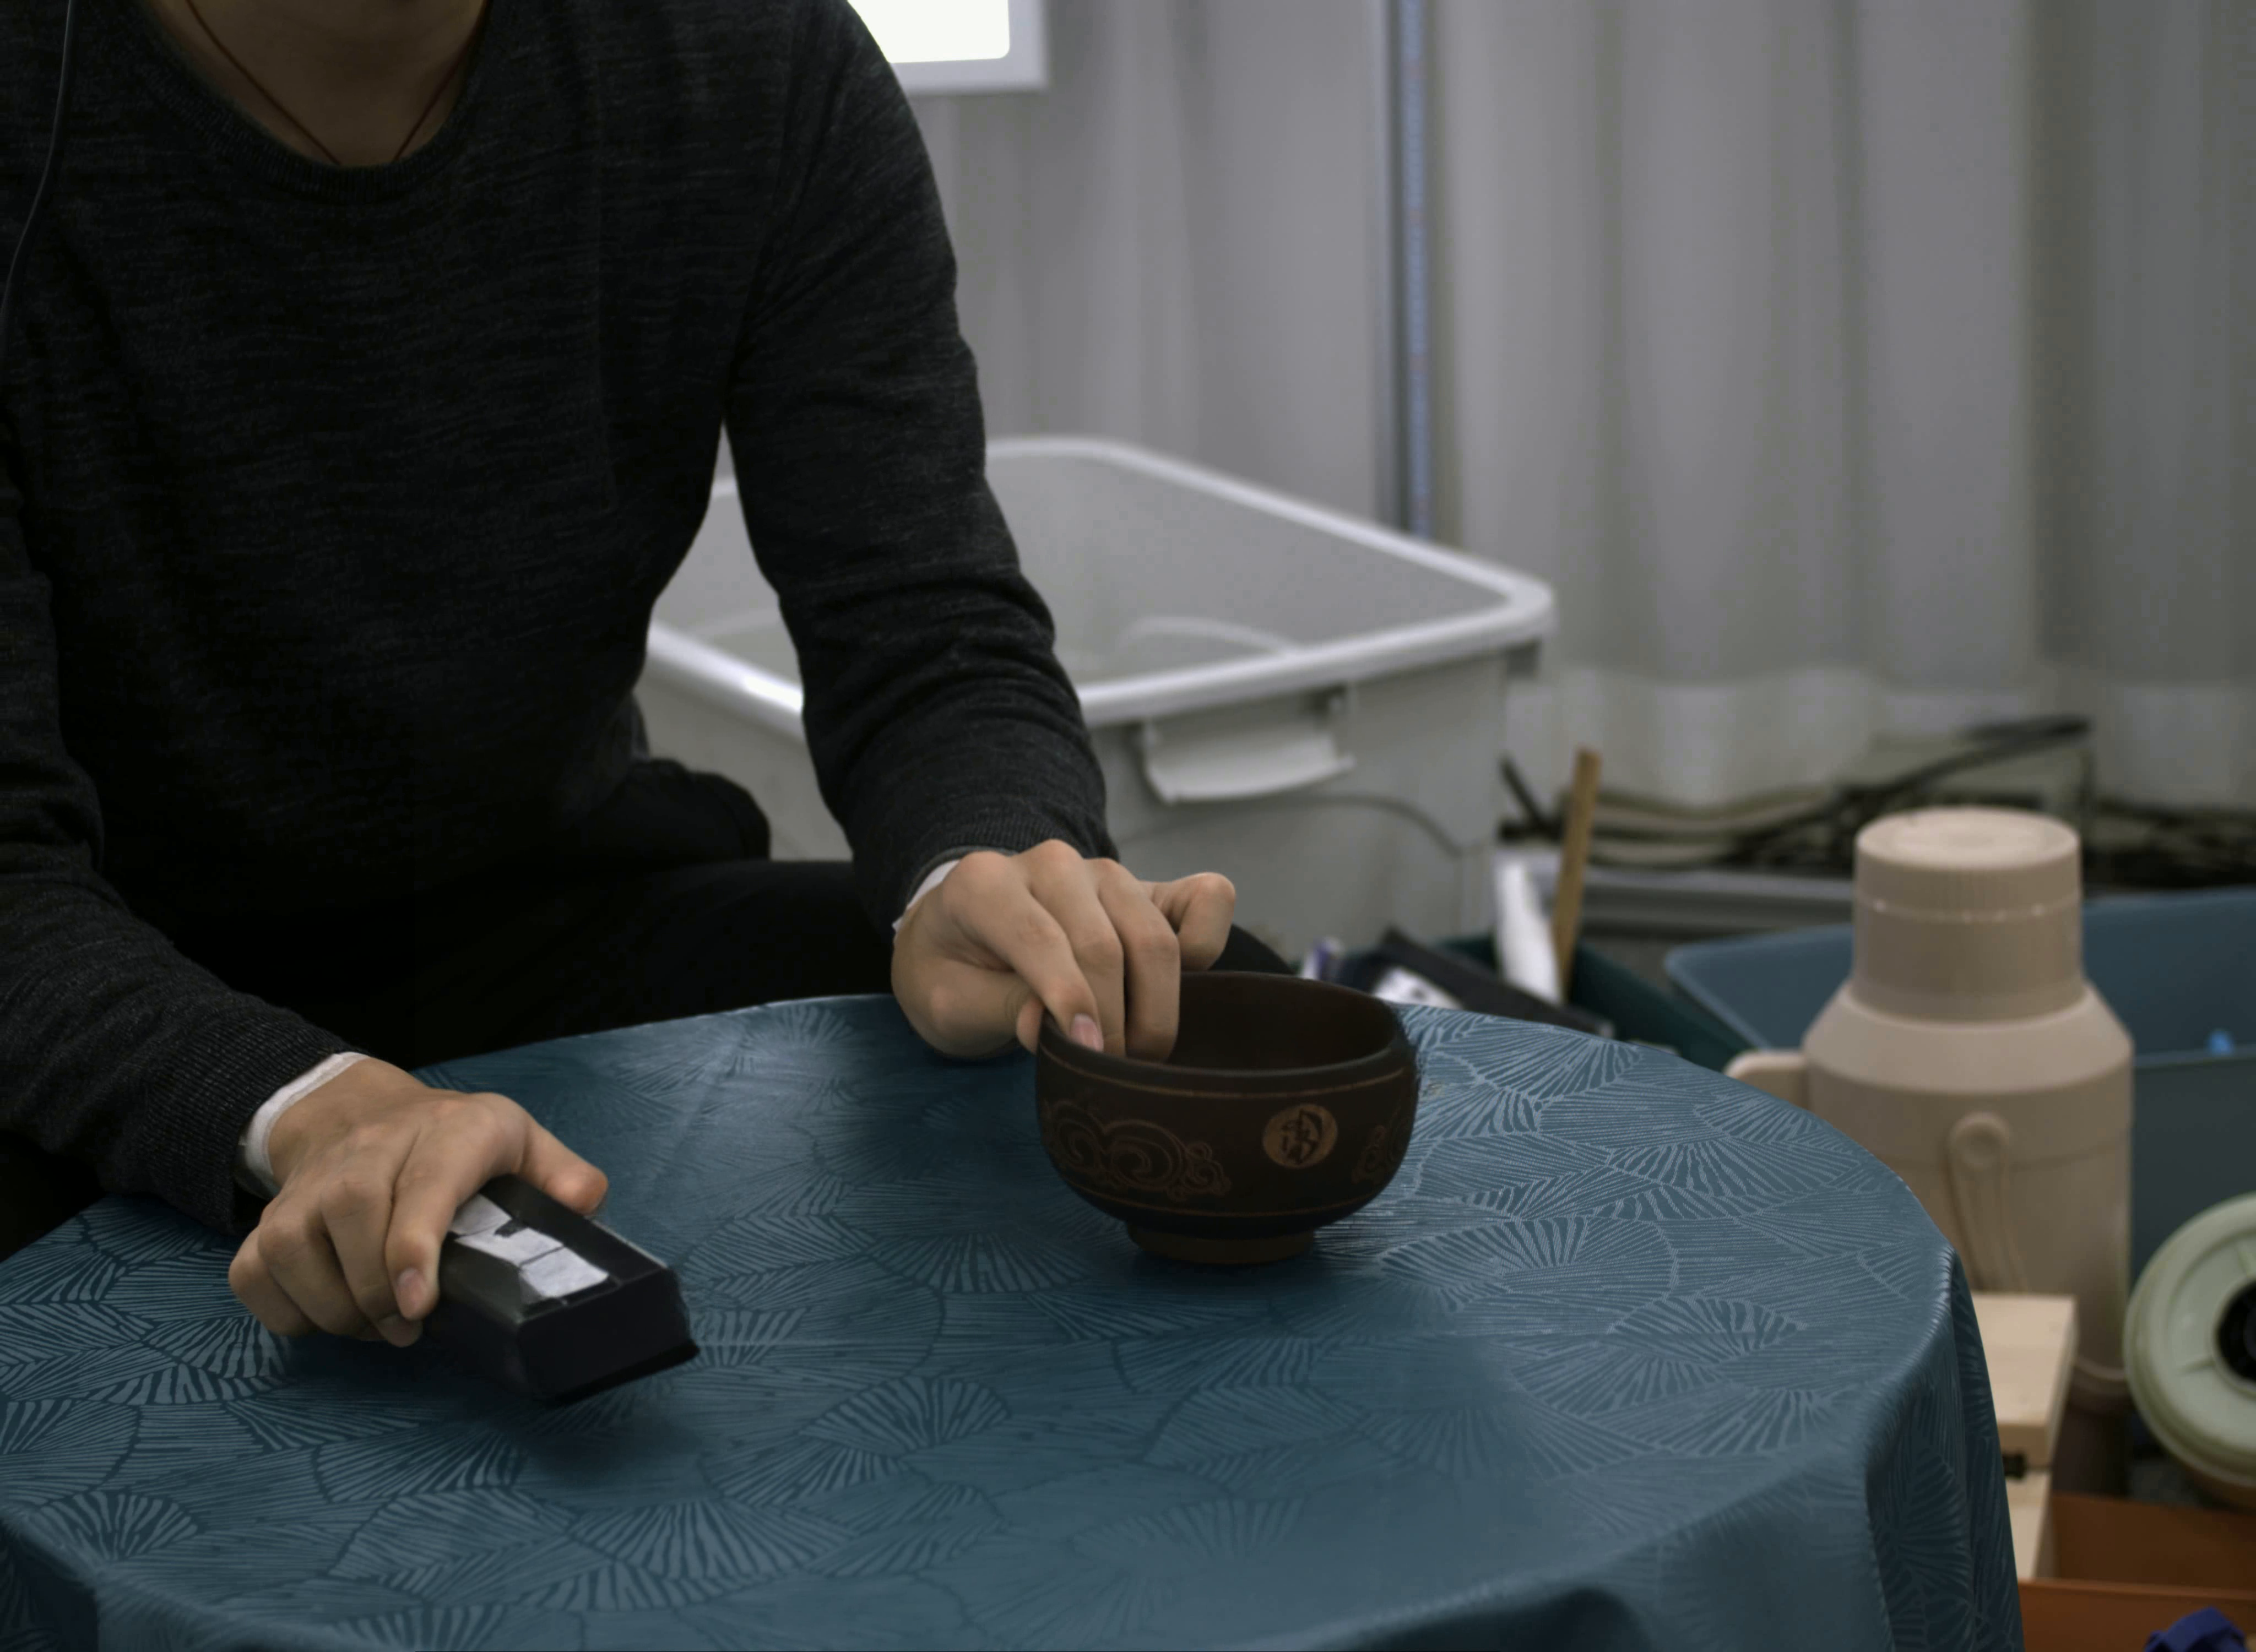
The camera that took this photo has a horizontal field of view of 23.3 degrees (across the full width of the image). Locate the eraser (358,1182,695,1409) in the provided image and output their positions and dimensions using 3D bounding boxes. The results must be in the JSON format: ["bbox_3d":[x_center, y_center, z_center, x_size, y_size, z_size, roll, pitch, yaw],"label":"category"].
[{"bbox_3d":[-0.170,0.132,1.552,0.053,0.030,0.126,-17,16,-26],"label":"eraser"}]

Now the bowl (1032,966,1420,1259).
[{"bbox_3d":[0.029,0.090,1.653,0.117,0.069,0.118,2,12,-1],"label":"bowl"}]
